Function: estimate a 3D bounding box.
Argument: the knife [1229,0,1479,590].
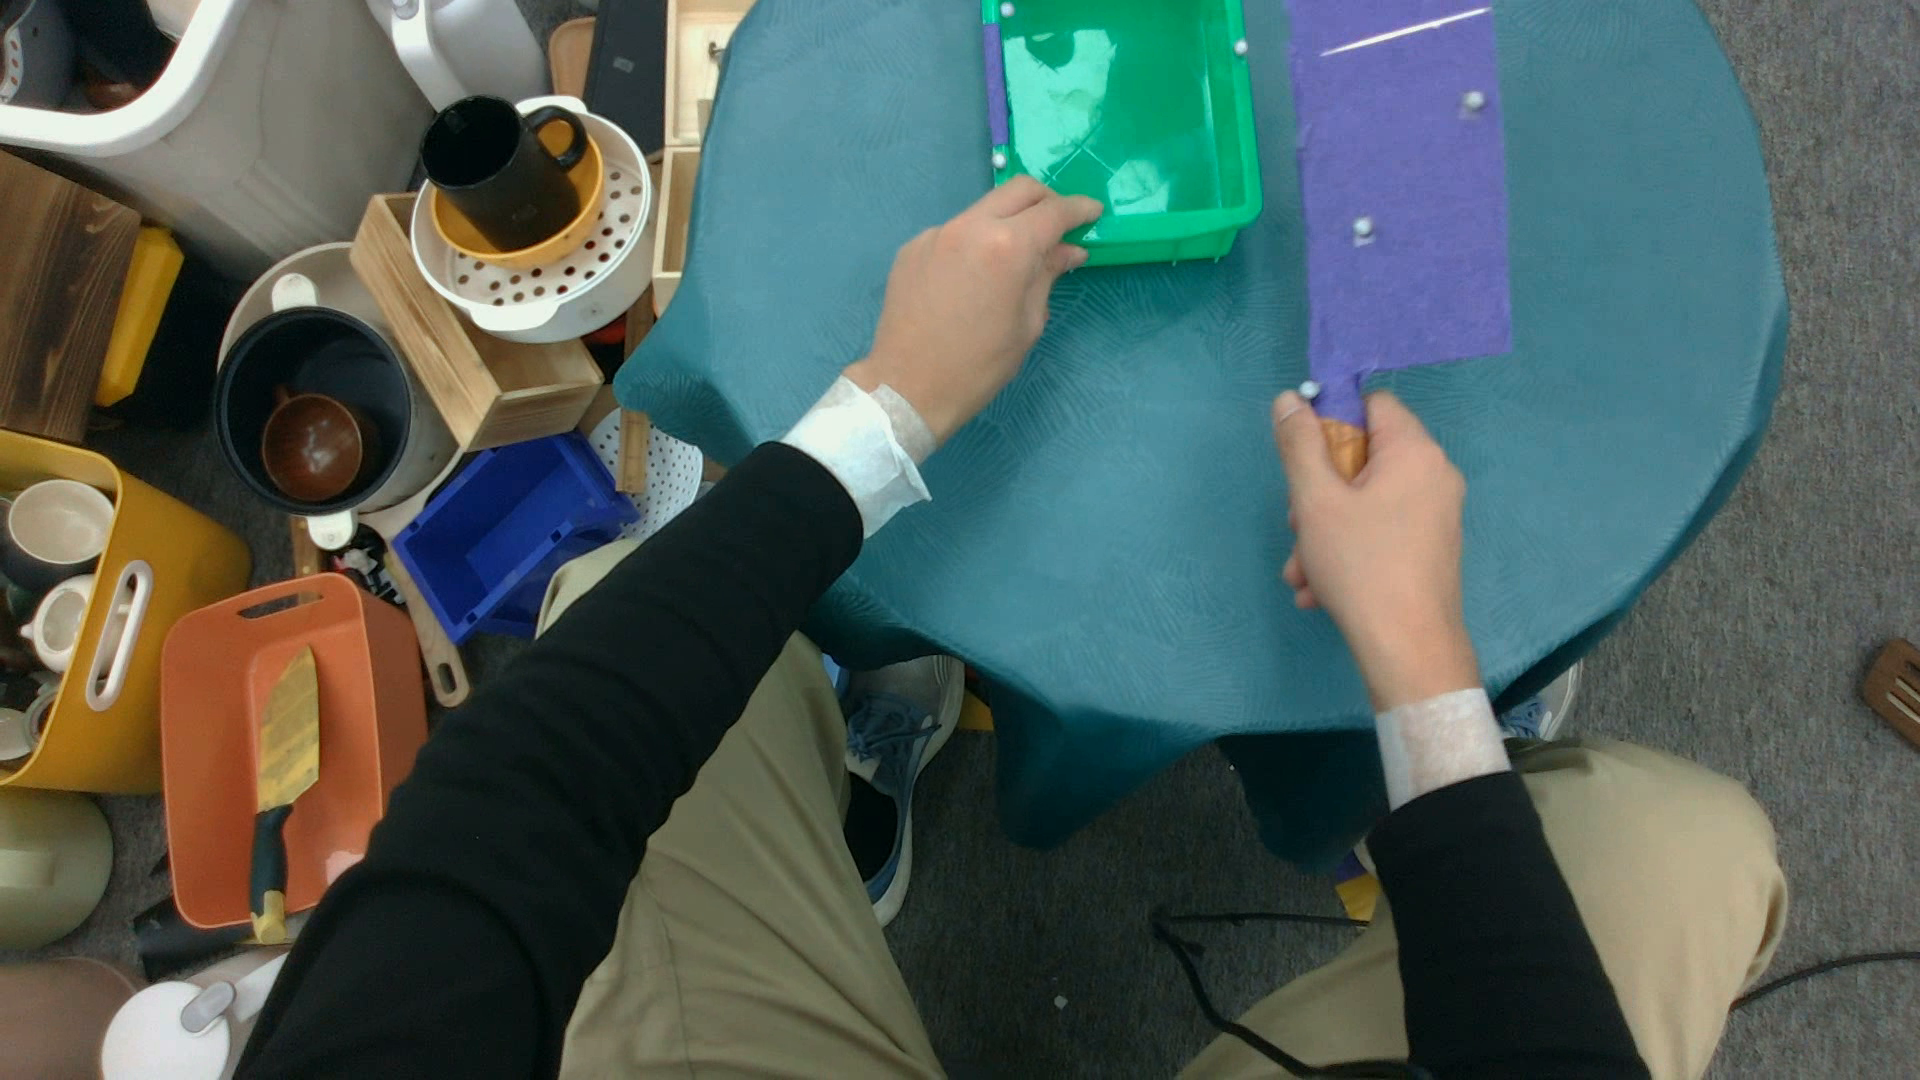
[{"bbox_3d":[0.190,-0.135,0.646,0.103,0.032,0.315,-7,90,30],"label":"knife"}]

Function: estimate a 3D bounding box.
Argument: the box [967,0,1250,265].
[{"bbox_3d":[0.076,-0.251,0.759,0.138,0.065,0.211,-5,77,1],"label":"box"}]
